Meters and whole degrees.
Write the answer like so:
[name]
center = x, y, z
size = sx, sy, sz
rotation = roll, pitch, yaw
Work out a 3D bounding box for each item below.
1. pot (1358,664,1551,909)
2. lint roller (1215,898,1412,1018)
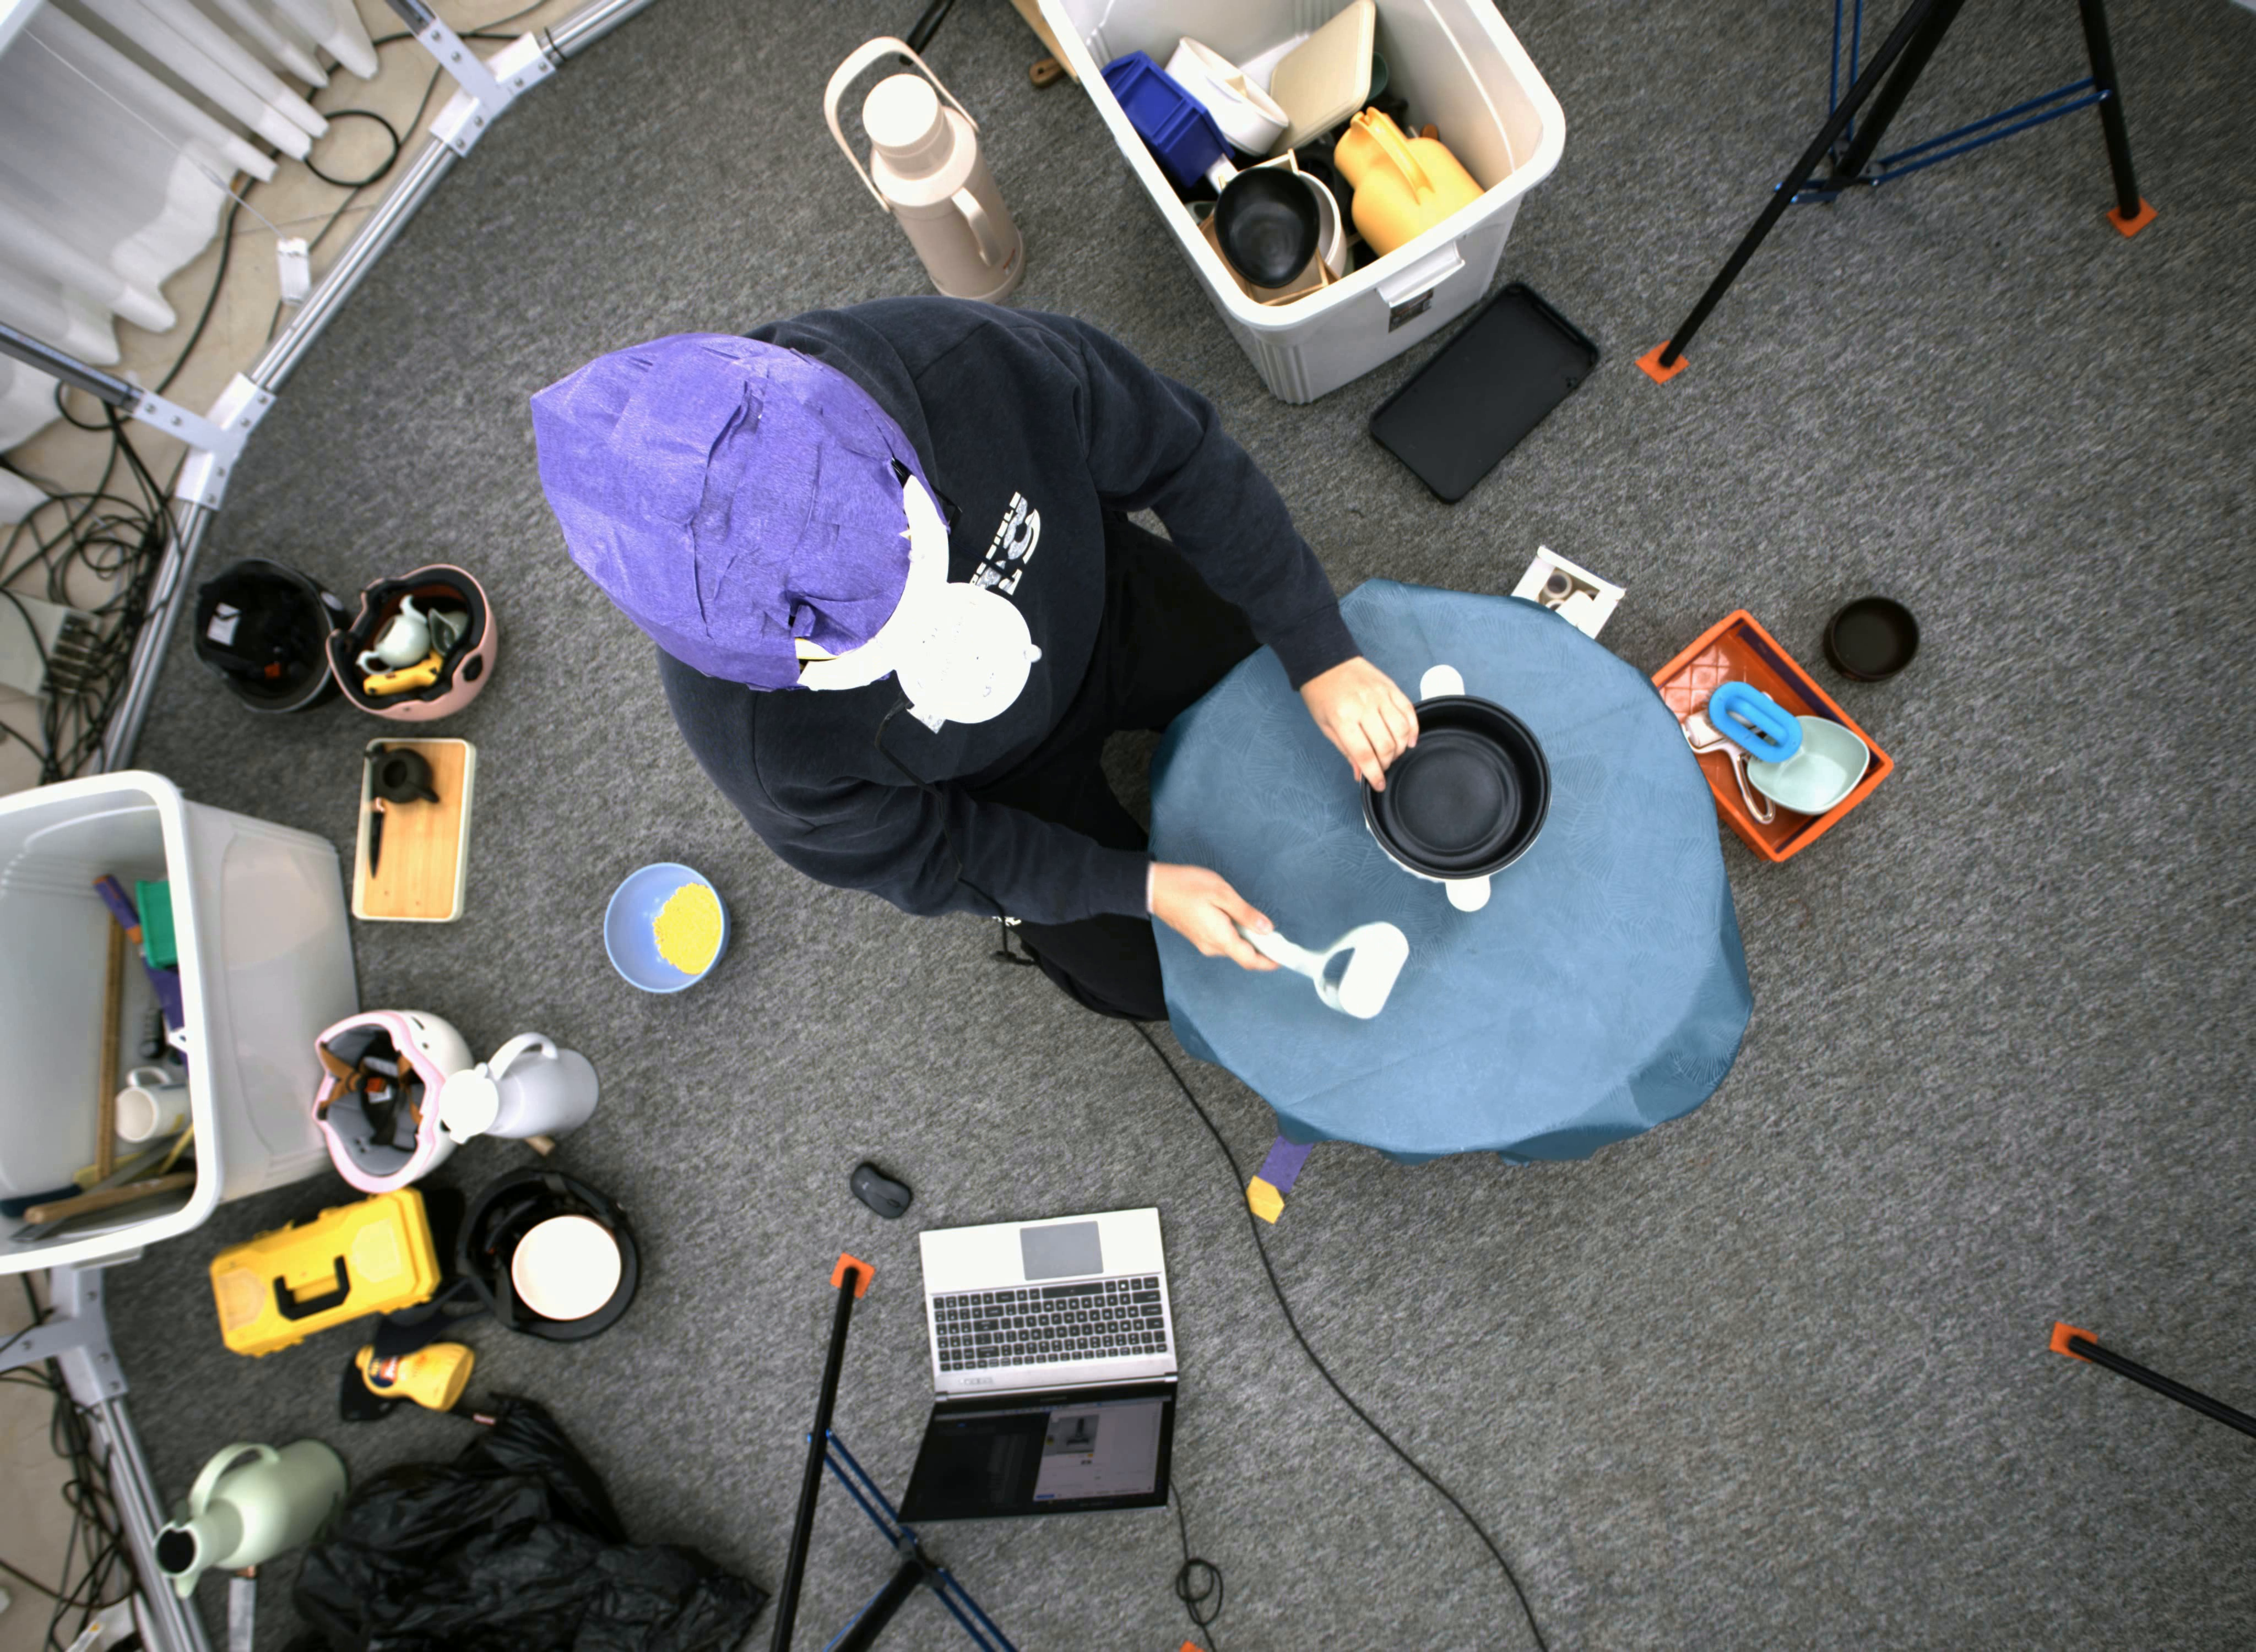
[pot]
center = 0.330, -0.037, 1.385
size = 0.191, 0.142, 0.239
rotation = -7, 86, 13
[lint roller]
center = 0.177, 0.120, 1.379
size = 0.197, 0.119, 0.047
rotation = 19, 53, 7
